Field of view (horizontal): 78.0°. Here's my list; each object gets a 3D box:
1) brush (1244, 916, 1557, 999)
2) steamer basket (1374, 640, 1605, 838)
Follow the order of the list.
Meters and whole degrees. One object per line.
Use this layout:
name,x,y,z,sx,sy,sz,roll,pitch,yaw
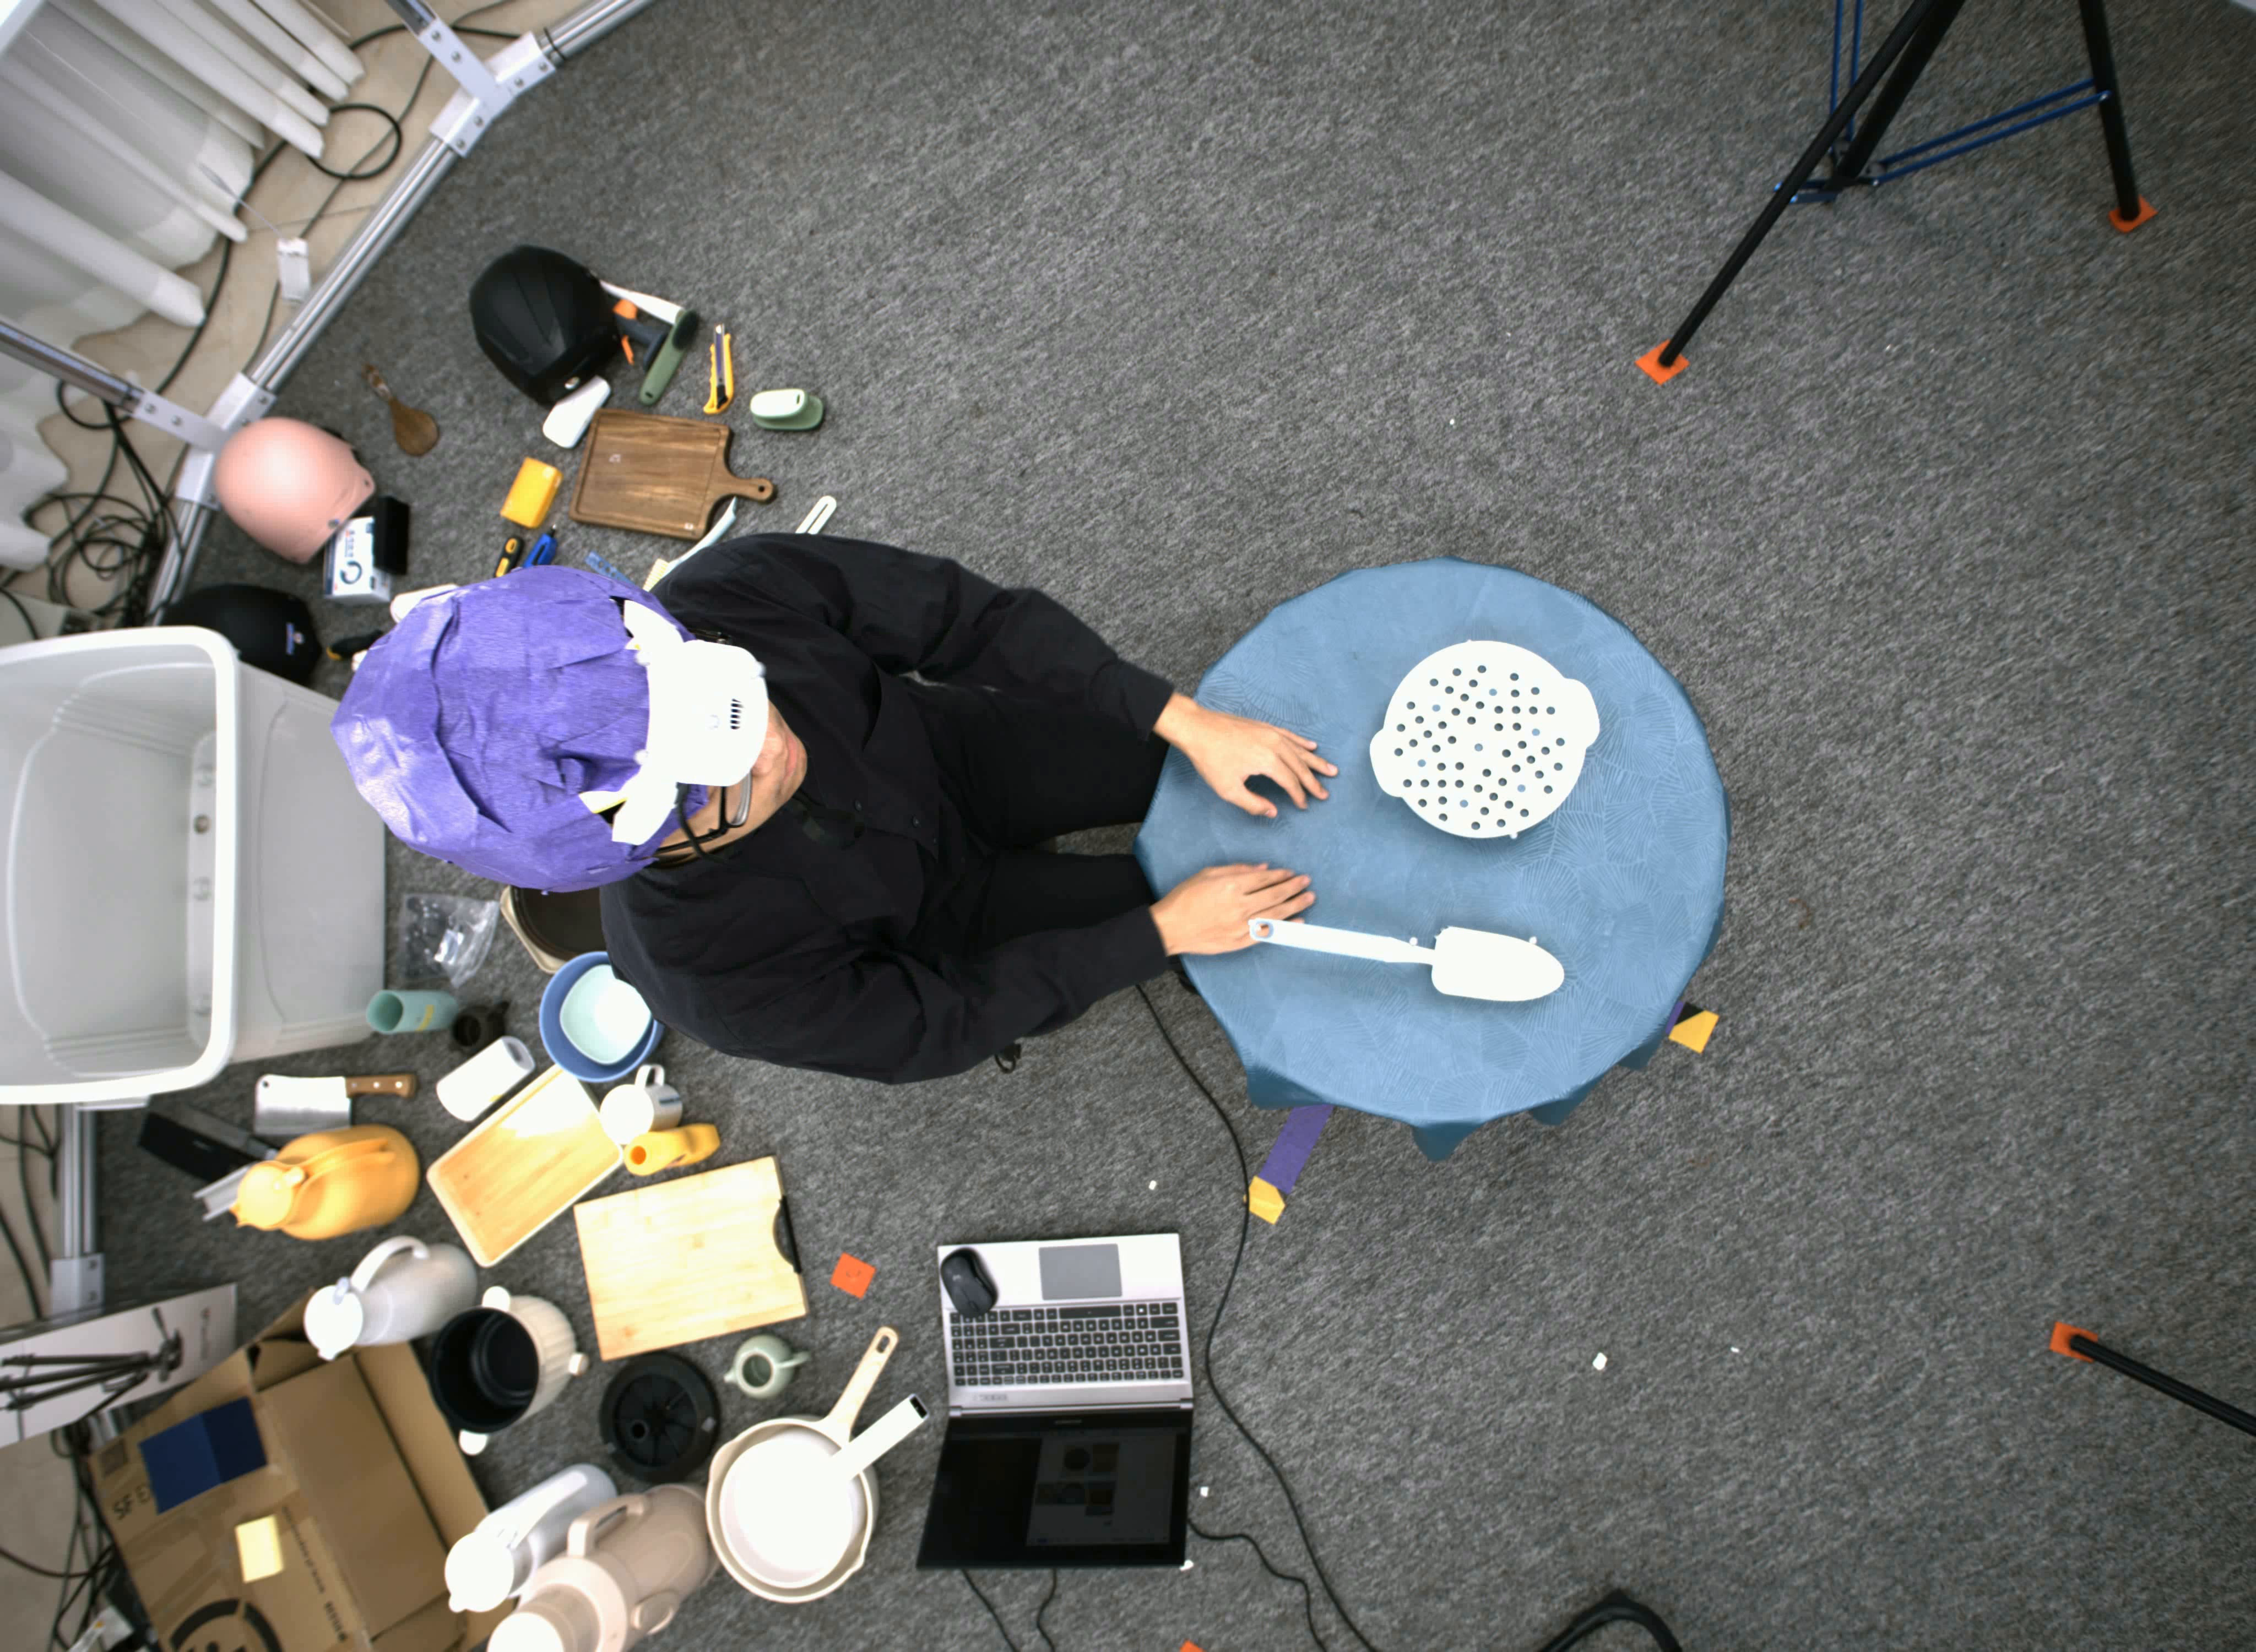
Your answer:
brush,0.276,0.122,1.412,0.326,0.087,0.081,9,50,-1
steamer basket,0.370,-0.089,1.415,0.232,0.069,0.200,-15,83,9
